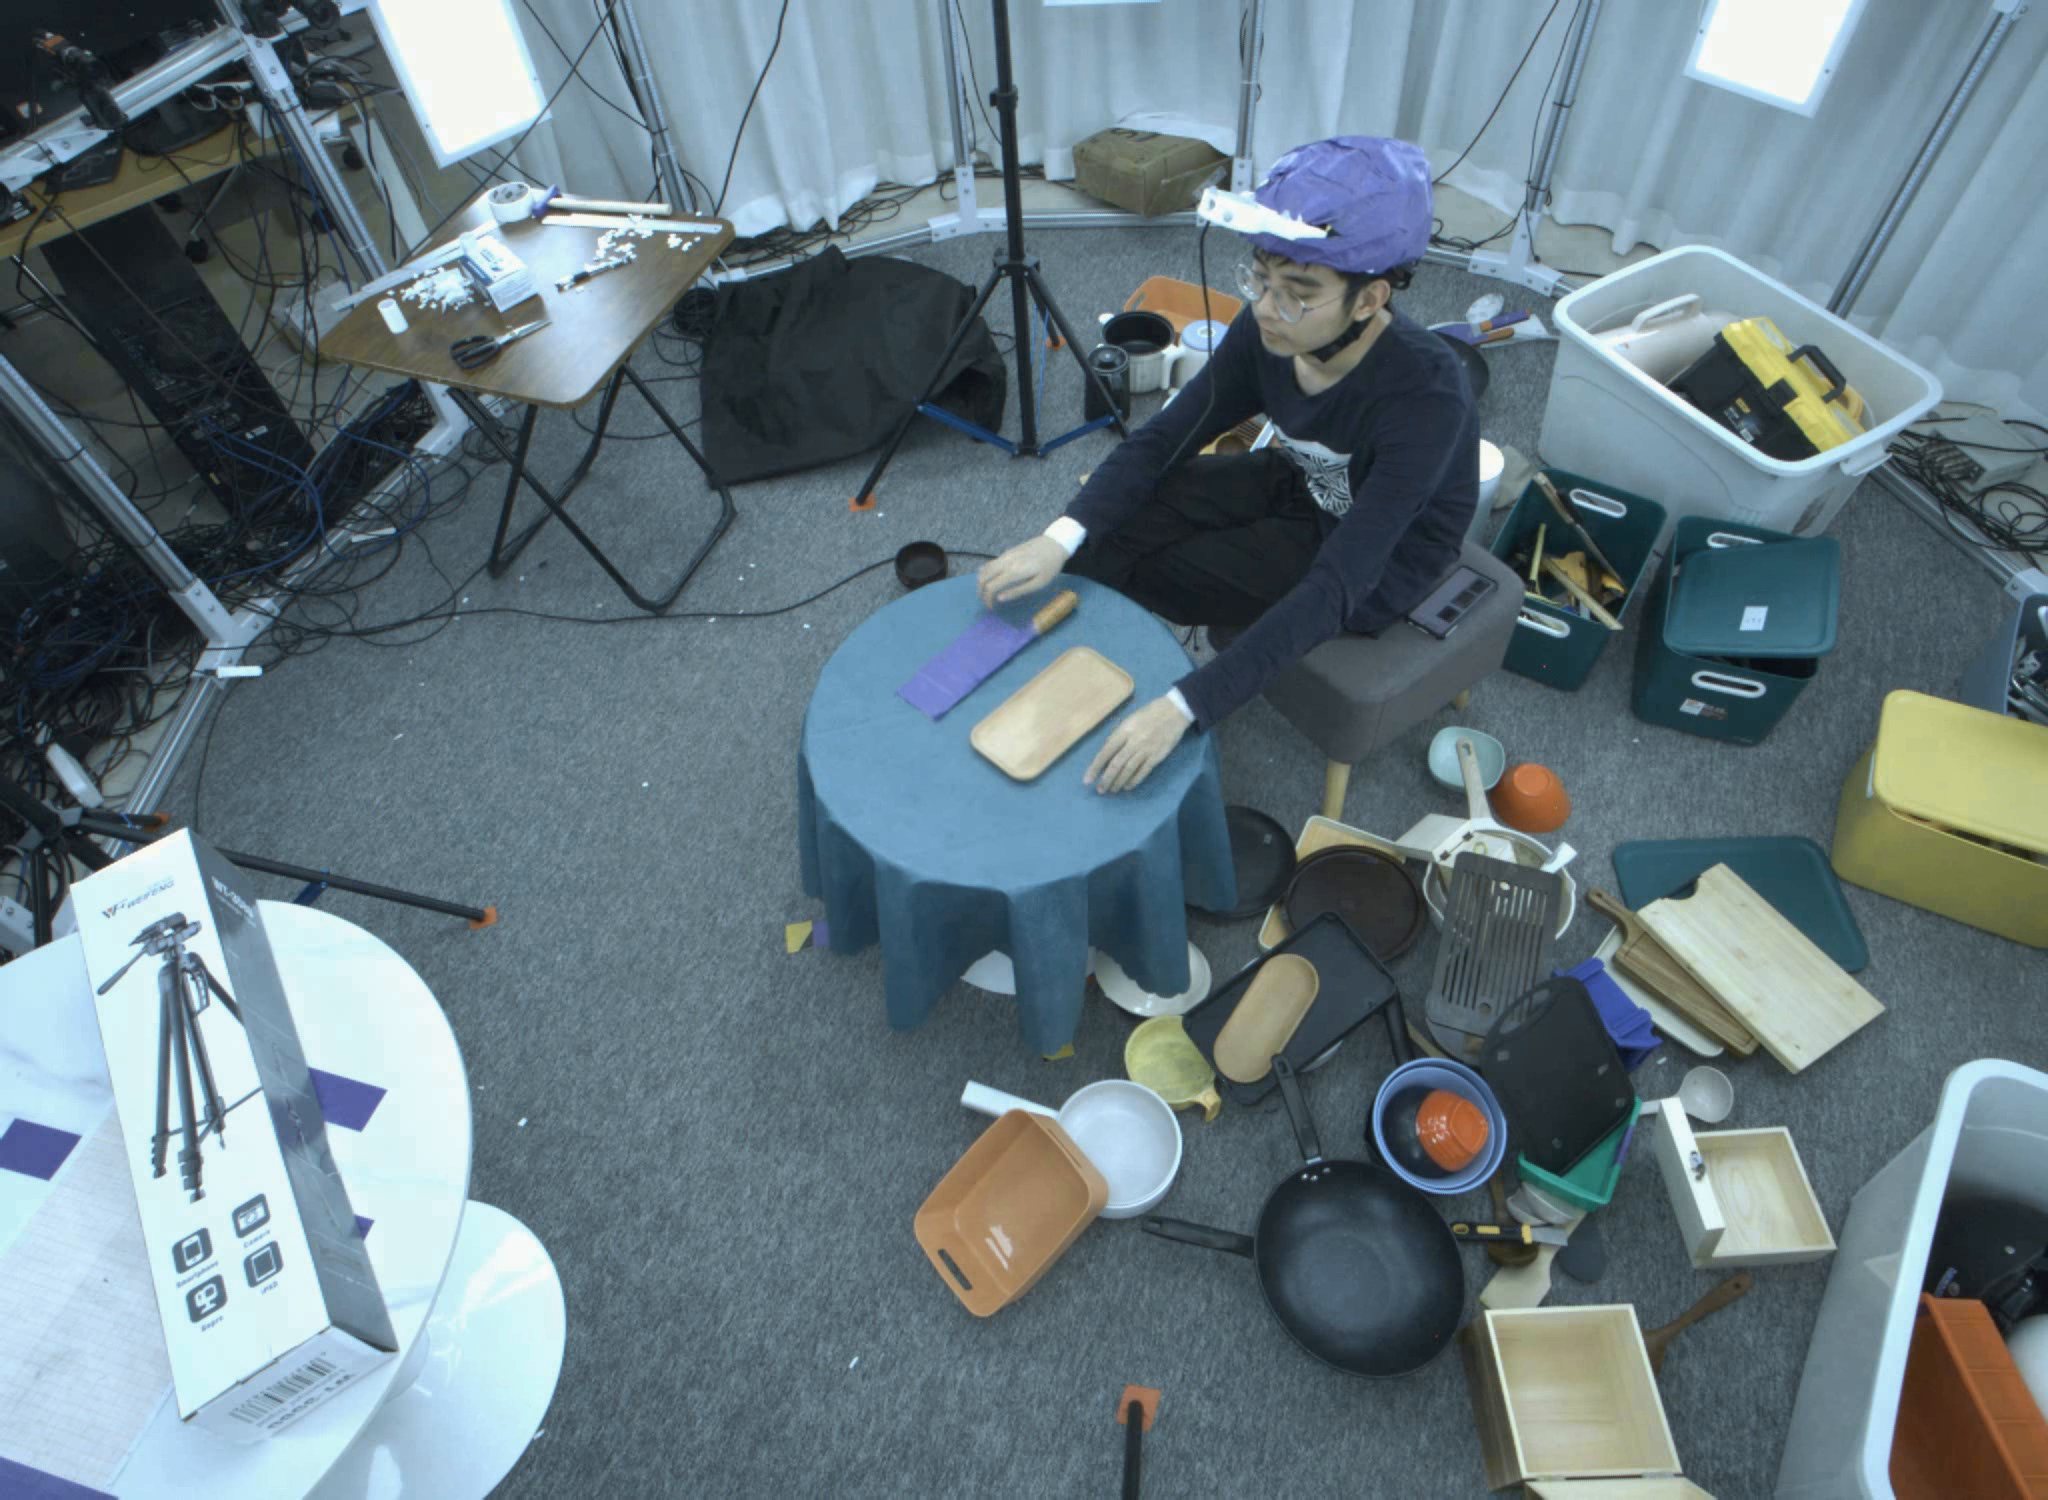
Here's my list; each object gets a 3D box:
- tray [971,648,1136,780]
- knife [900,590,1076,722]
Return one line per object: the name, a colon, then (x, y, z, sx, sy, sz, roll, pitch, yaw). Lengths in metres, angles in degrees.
tray: (0.045, -0.055, 1.823, 0.252, 0.023, 0.128, -37, 64, -24)
knife: (-0.057, -0.164, 1.897, 0.102, 0.032, 0.317, 37, 63, 25)
